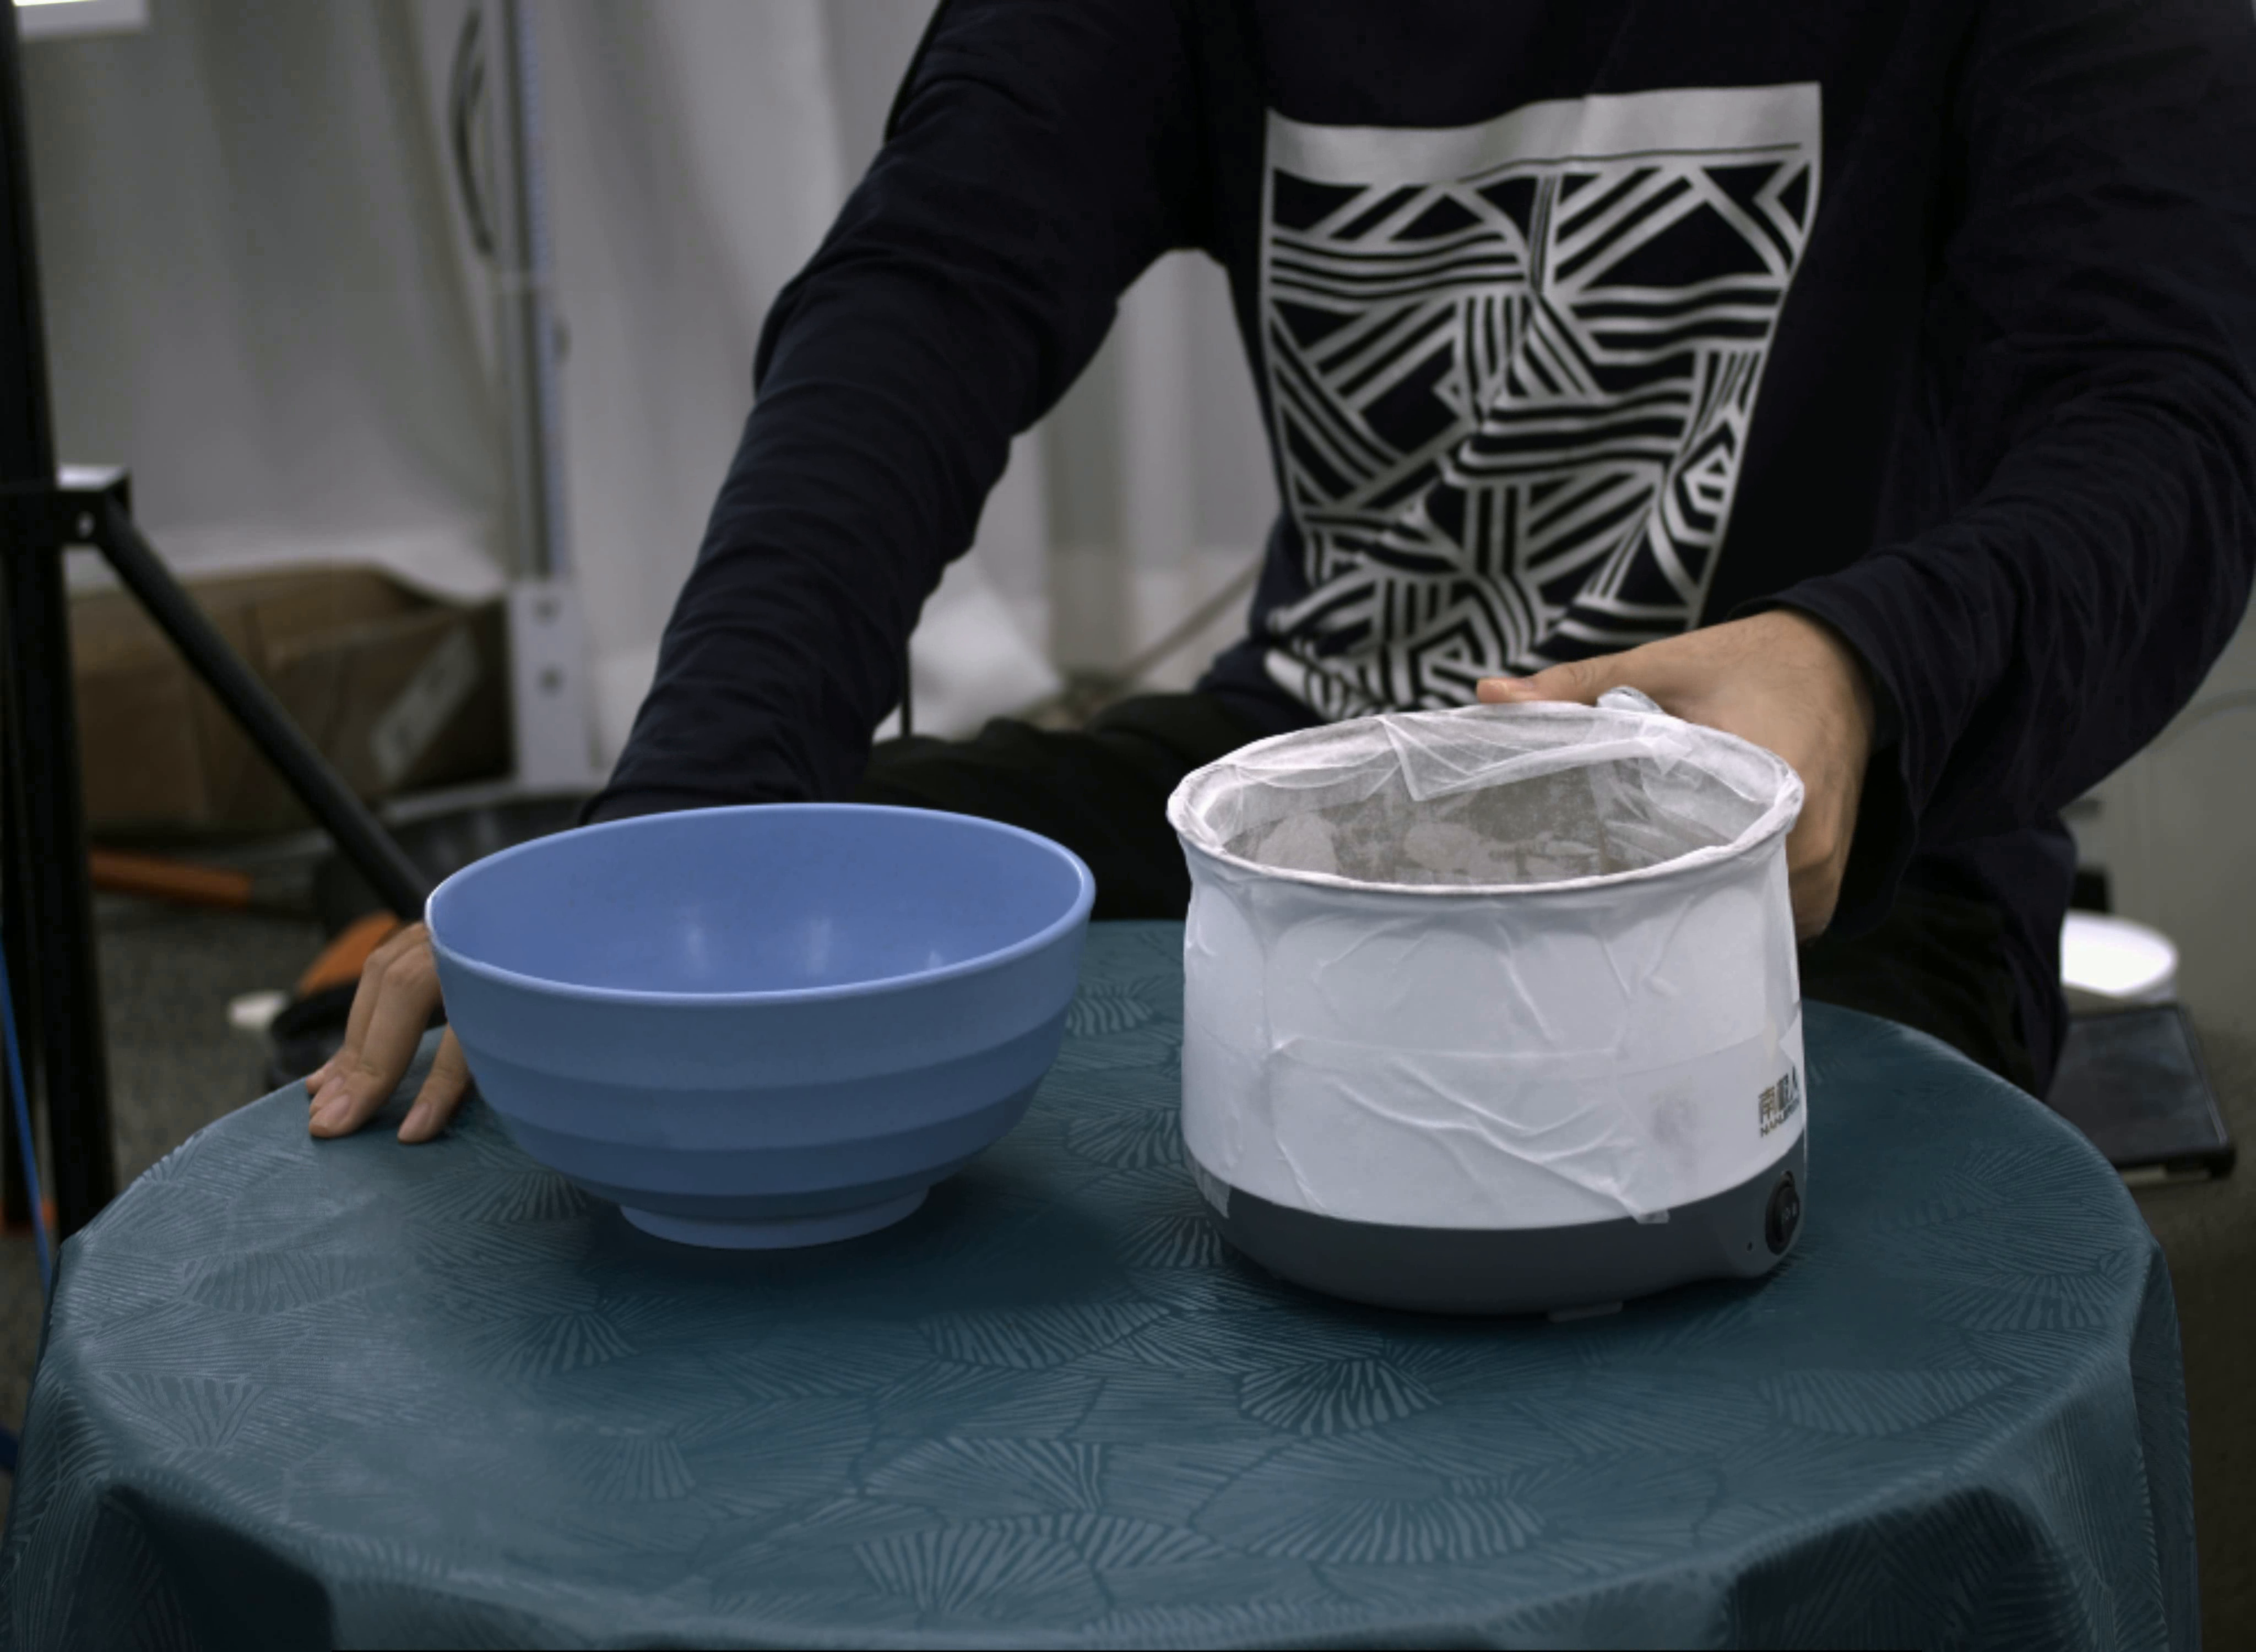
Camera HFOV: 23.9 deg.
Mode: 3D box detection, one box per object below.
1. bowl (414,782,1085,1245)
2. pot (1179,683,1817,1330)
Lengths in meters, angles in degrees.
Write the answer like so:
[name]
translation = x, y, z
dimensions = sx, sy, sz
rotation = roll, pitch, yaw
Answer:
[bowl]
translation = -0.105, 0.061, 1.558
dimensions = 0.196, 0.095, 0.197
rotation = -6, 18, 1
[pot]
translation = 0.114, 0.044, 1.513
dimensions = 0.181, 0.136, 0.230
rotation = 8, 20, 26
